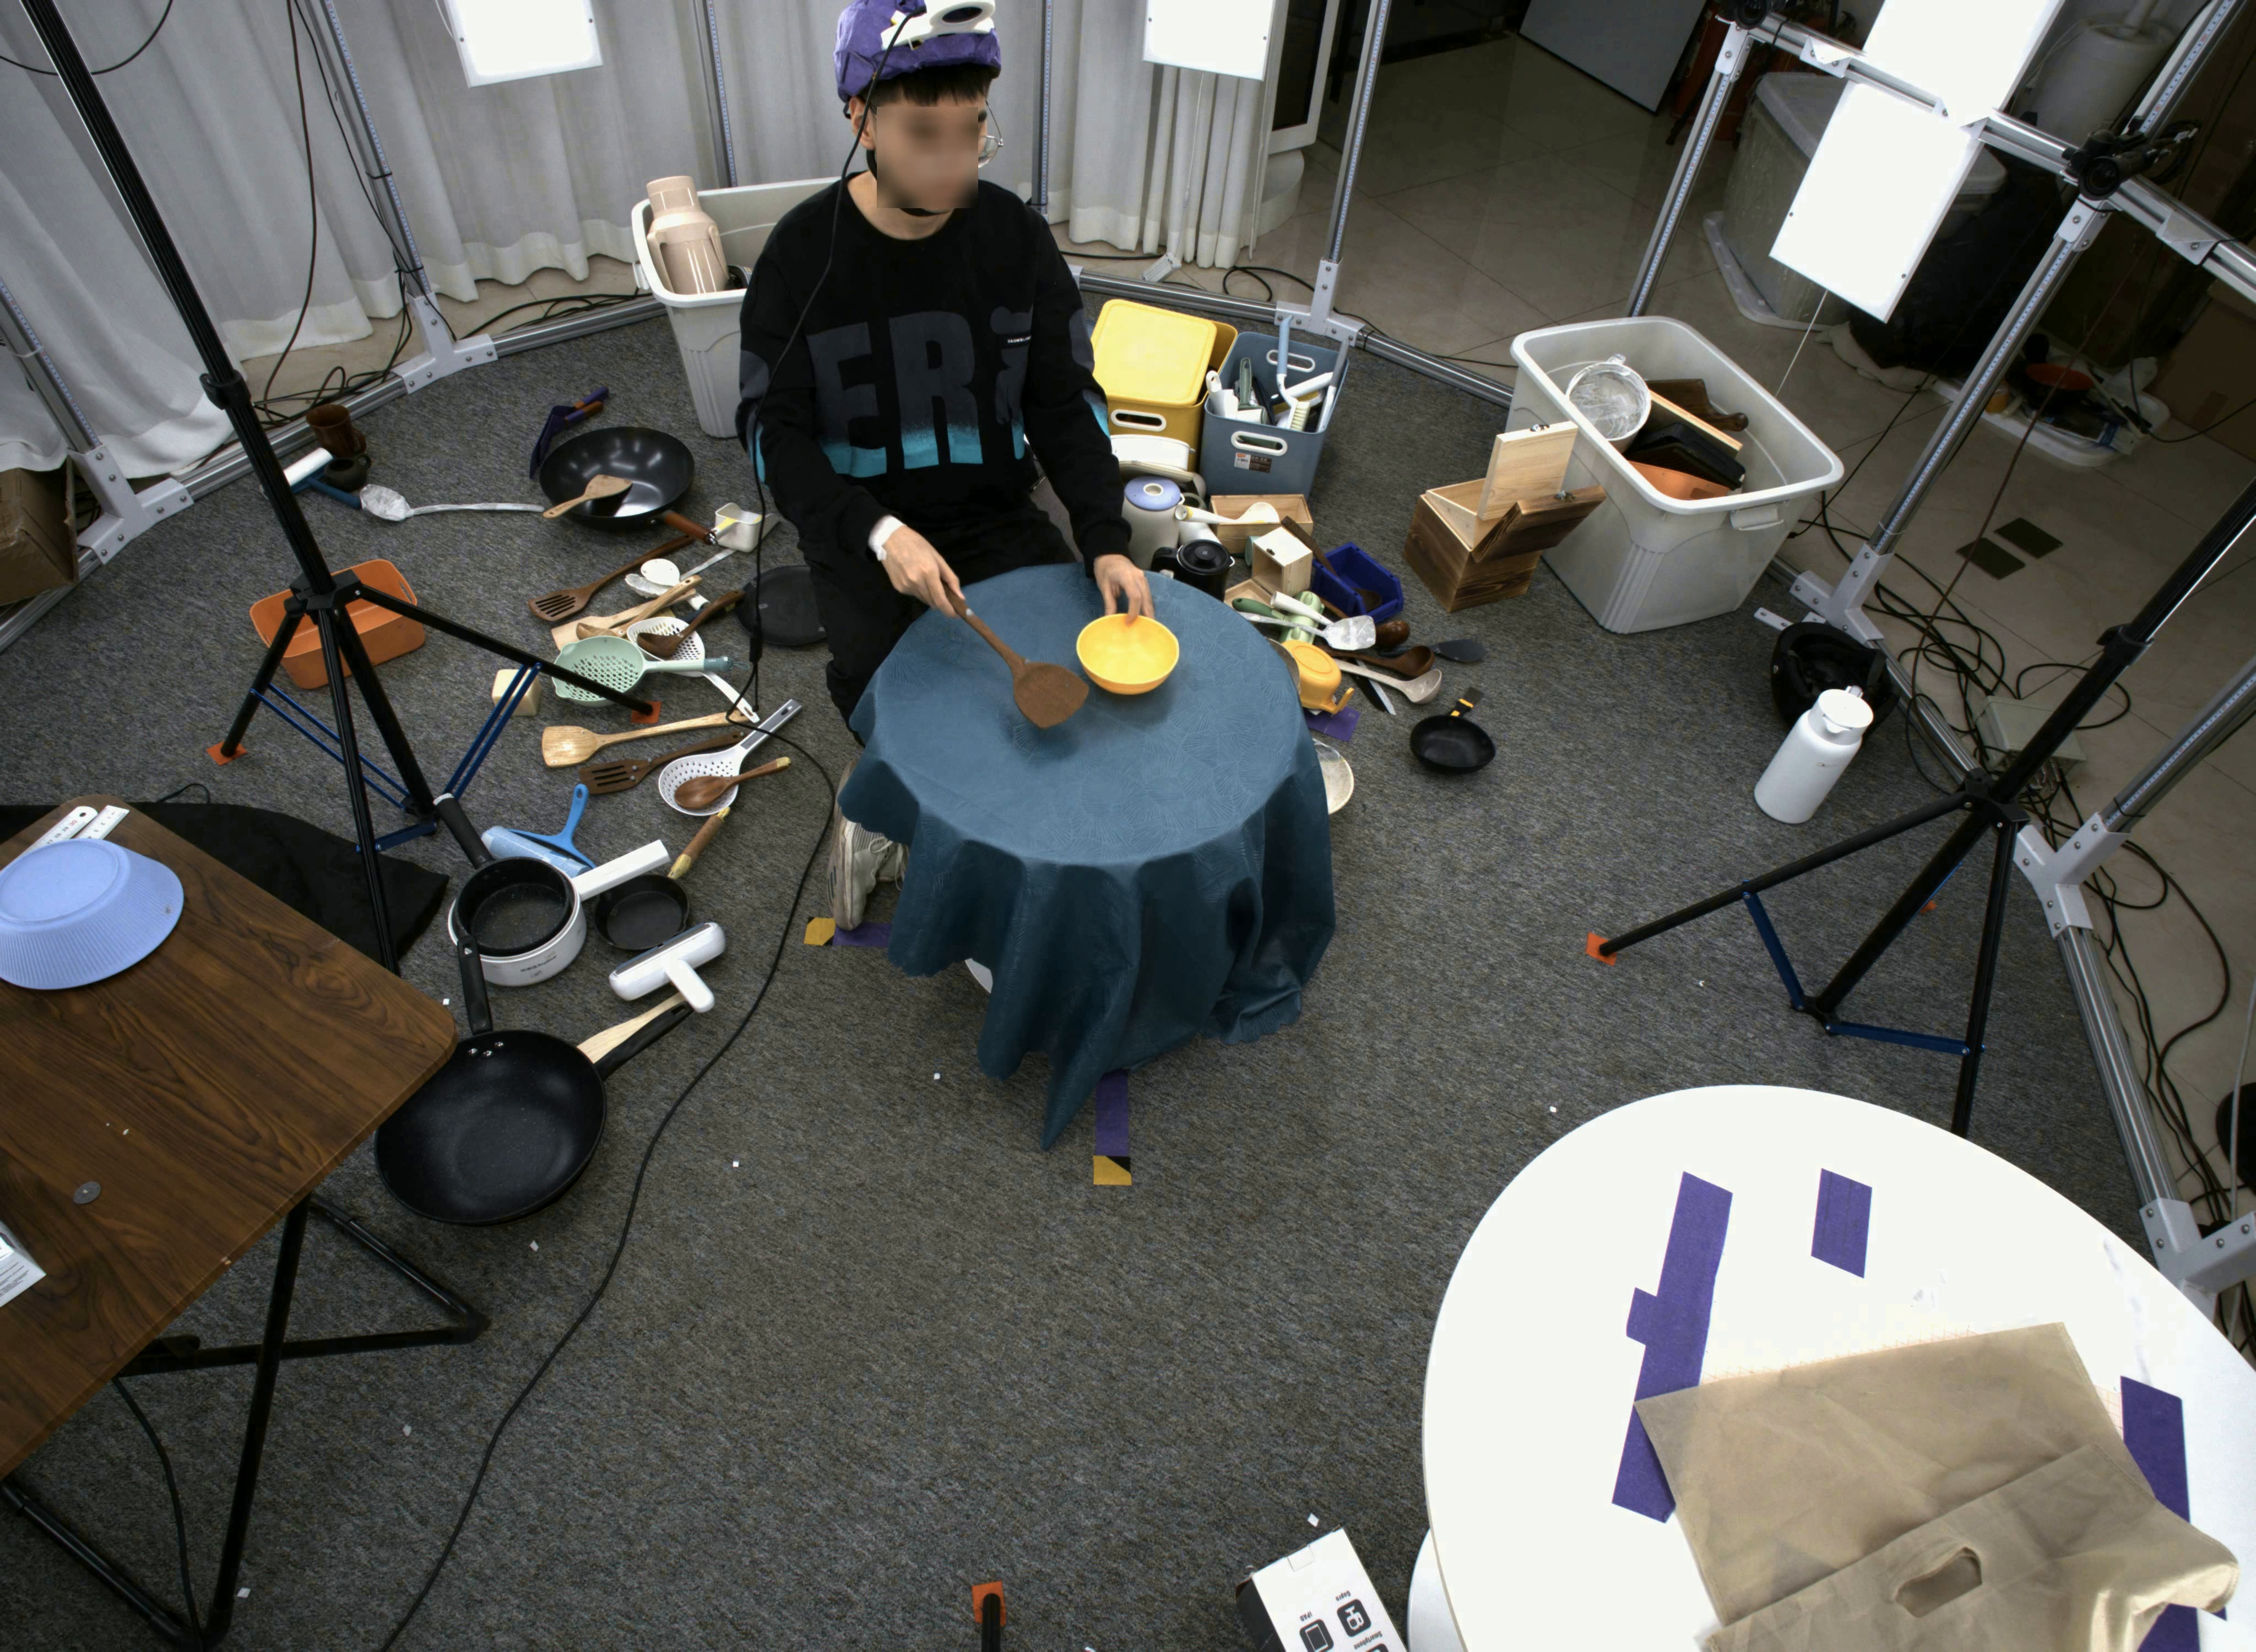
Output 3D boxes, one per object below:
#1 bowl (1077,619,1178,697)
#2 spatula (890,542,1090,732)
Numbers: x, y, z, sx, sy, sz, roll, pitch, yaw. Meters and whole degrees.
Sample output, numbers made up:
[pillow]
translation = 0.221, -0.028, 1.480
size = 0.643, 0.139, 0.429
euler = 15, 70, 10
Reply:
[bowl]
translation = -0.003, -0.231, 1.850
size = 0.145, 0.058, 0.149
euler = 3, 47, -4
[spatula]
translation = -0.207, -0.276, 1.805
size = 0.097, 0.015, 0.390
euler = -40, 72, -18
